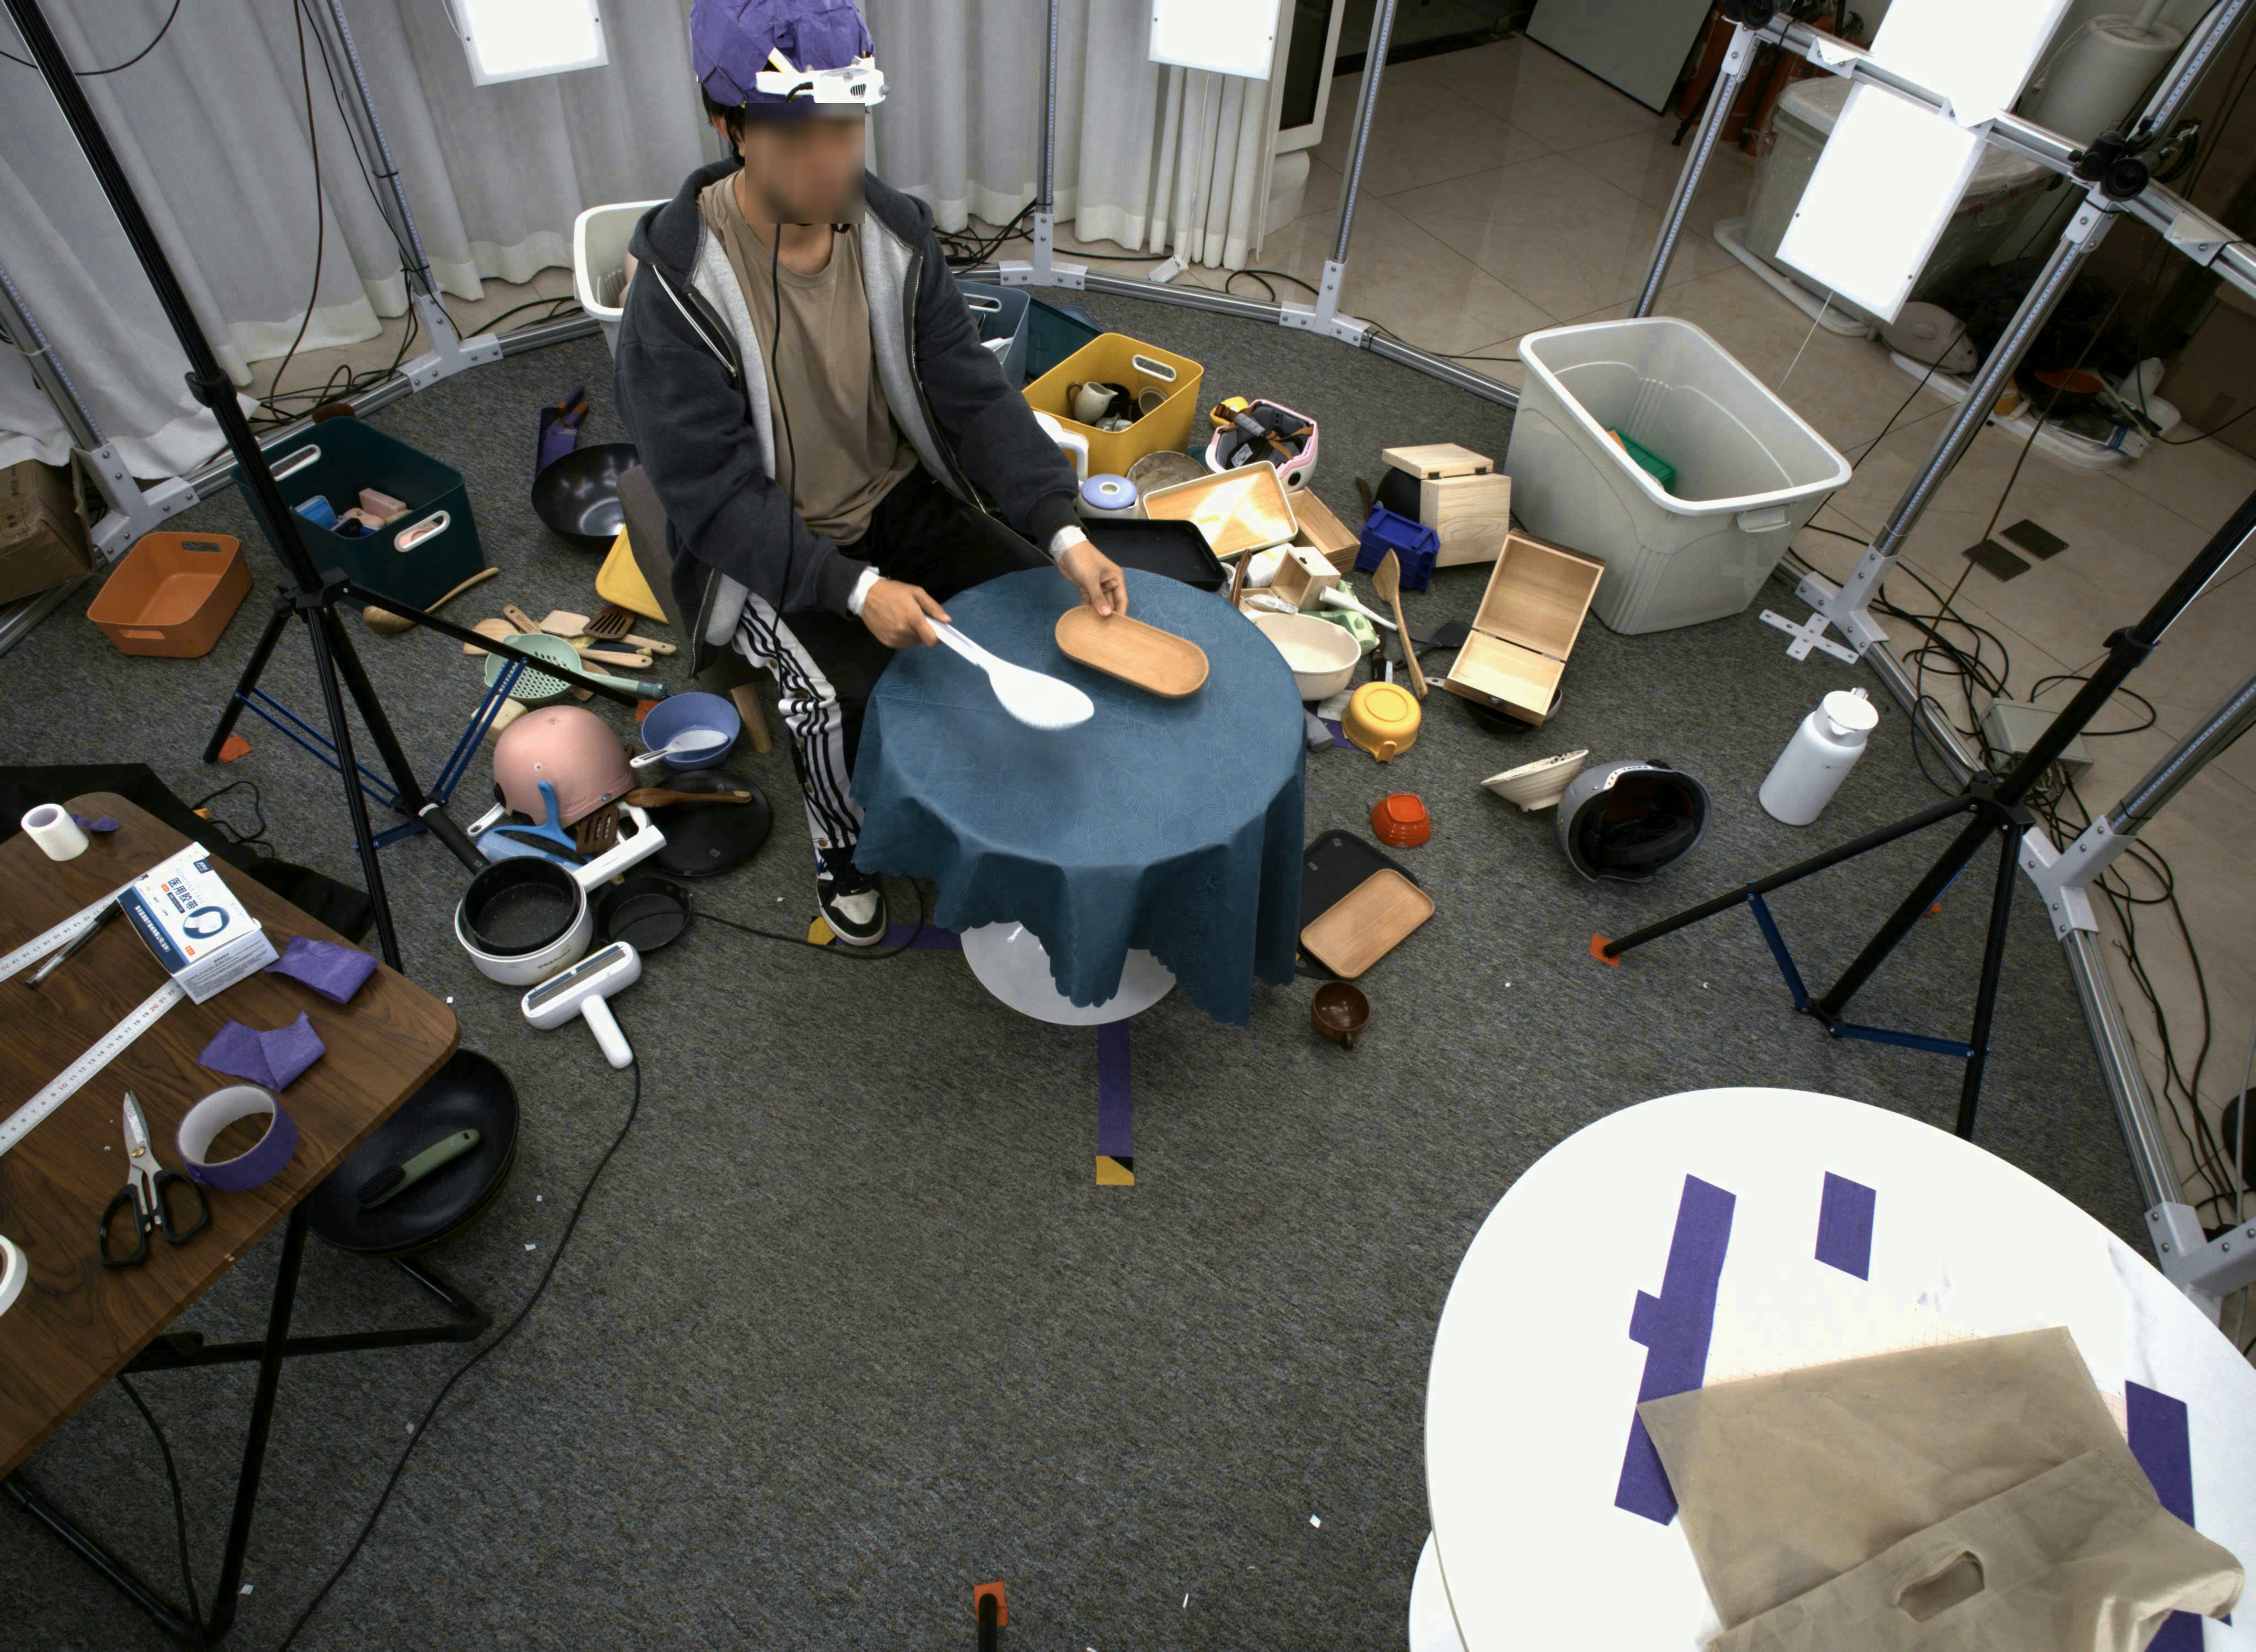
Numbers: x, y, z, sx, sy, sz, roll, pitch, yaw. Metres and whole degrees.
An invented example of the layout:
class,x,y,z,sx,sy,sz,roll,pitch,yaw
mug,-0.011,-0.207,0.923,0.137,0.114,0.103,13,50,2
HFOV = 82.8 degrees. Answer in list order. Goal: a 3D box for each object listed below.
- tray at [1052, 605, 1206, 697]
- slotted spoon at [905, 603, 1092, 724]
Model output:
class,x,y,z,sx,sy,sz,roll,pitch,yaw
tray,0.001,-0.250,1.832,0.232,0.020,0.103,21,58,12
slotted spoon,-0.187,-0.222,1.719,0.136,0.045,0.356,-8,39,-47
